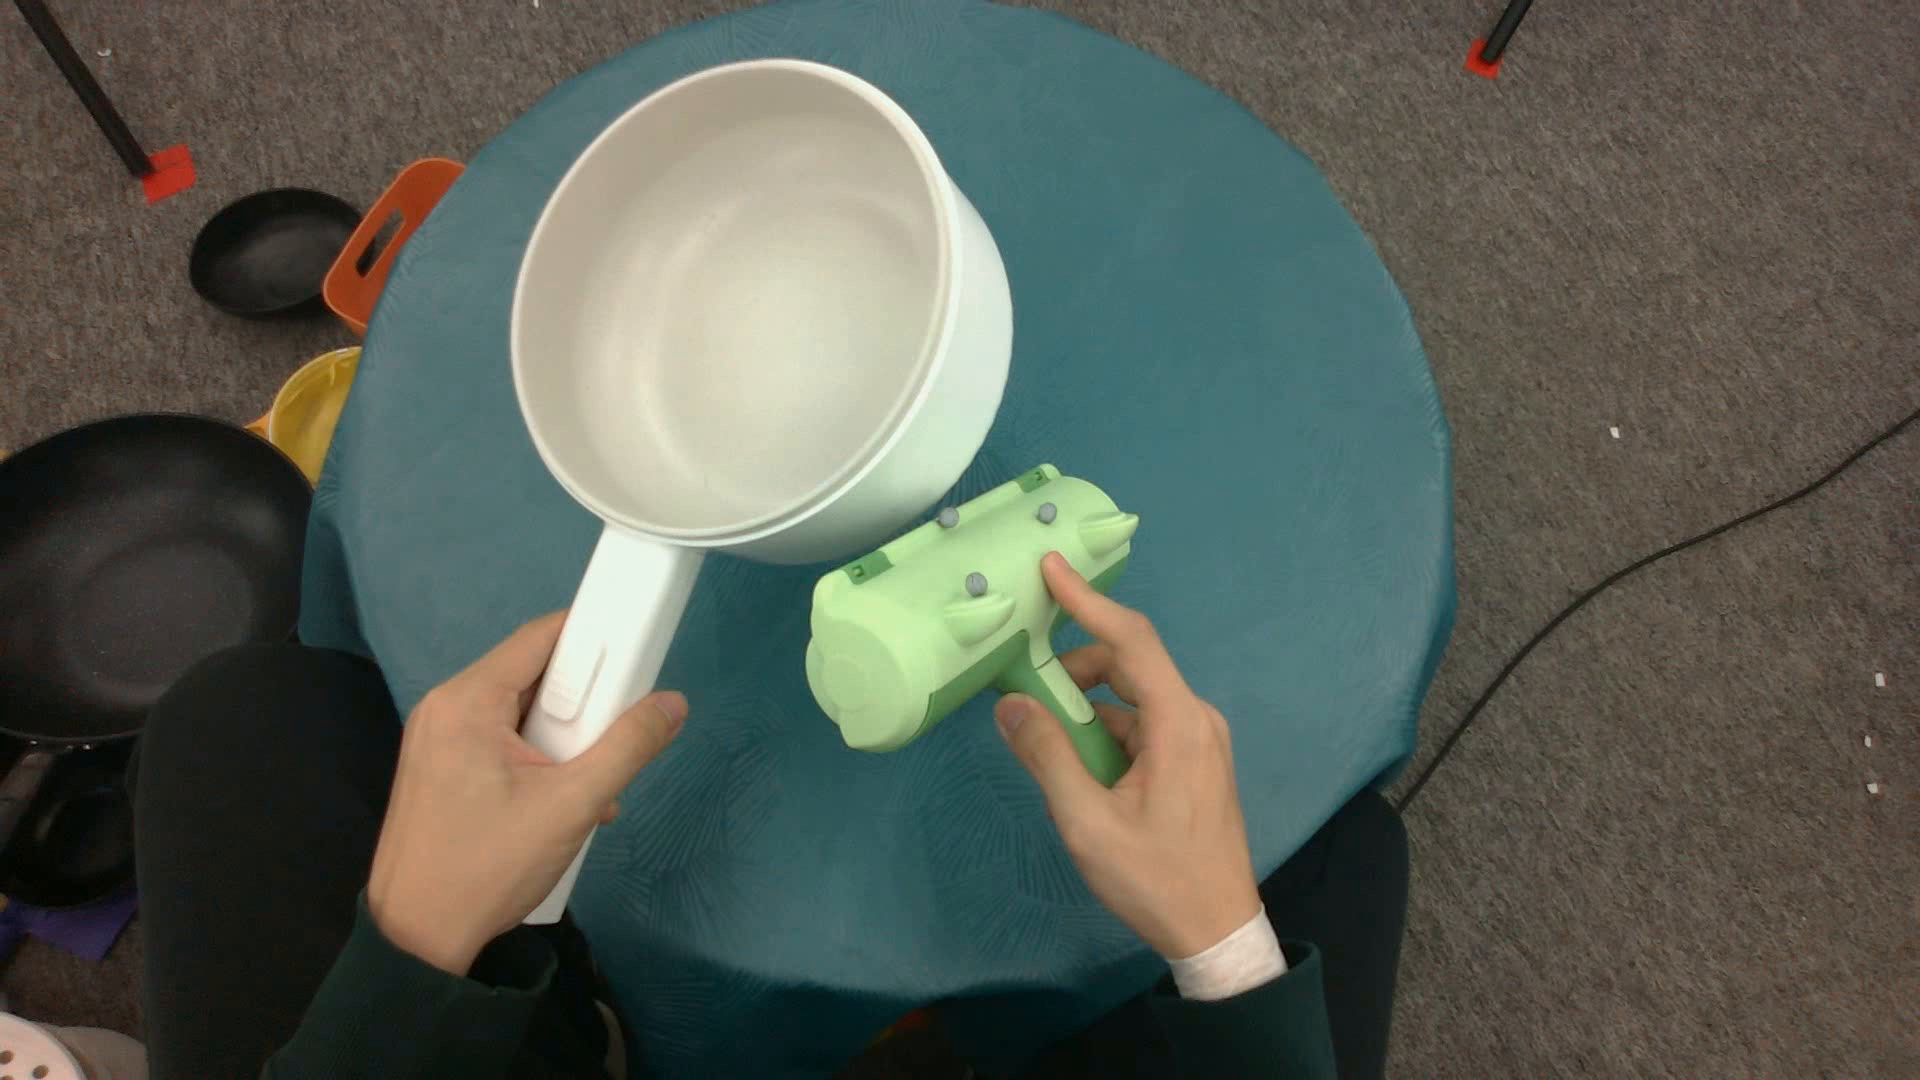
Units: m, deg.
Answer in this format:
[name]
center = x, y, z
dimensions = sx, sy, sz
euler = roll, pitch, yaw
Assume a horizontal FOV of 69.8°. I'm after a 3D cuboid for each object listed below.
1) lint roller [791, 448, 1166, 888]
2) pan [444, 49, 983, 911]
[lint roller]
center = 0.042, 0.054, 0.560
dimensions = 0.183, 0.082, 0.199
euler = 50, 32, 6
[pan]
center = -0.115, -0.021, 0.584
dimensions = 0.201, 0.102, 0.355
euler = 18, 88, 22
